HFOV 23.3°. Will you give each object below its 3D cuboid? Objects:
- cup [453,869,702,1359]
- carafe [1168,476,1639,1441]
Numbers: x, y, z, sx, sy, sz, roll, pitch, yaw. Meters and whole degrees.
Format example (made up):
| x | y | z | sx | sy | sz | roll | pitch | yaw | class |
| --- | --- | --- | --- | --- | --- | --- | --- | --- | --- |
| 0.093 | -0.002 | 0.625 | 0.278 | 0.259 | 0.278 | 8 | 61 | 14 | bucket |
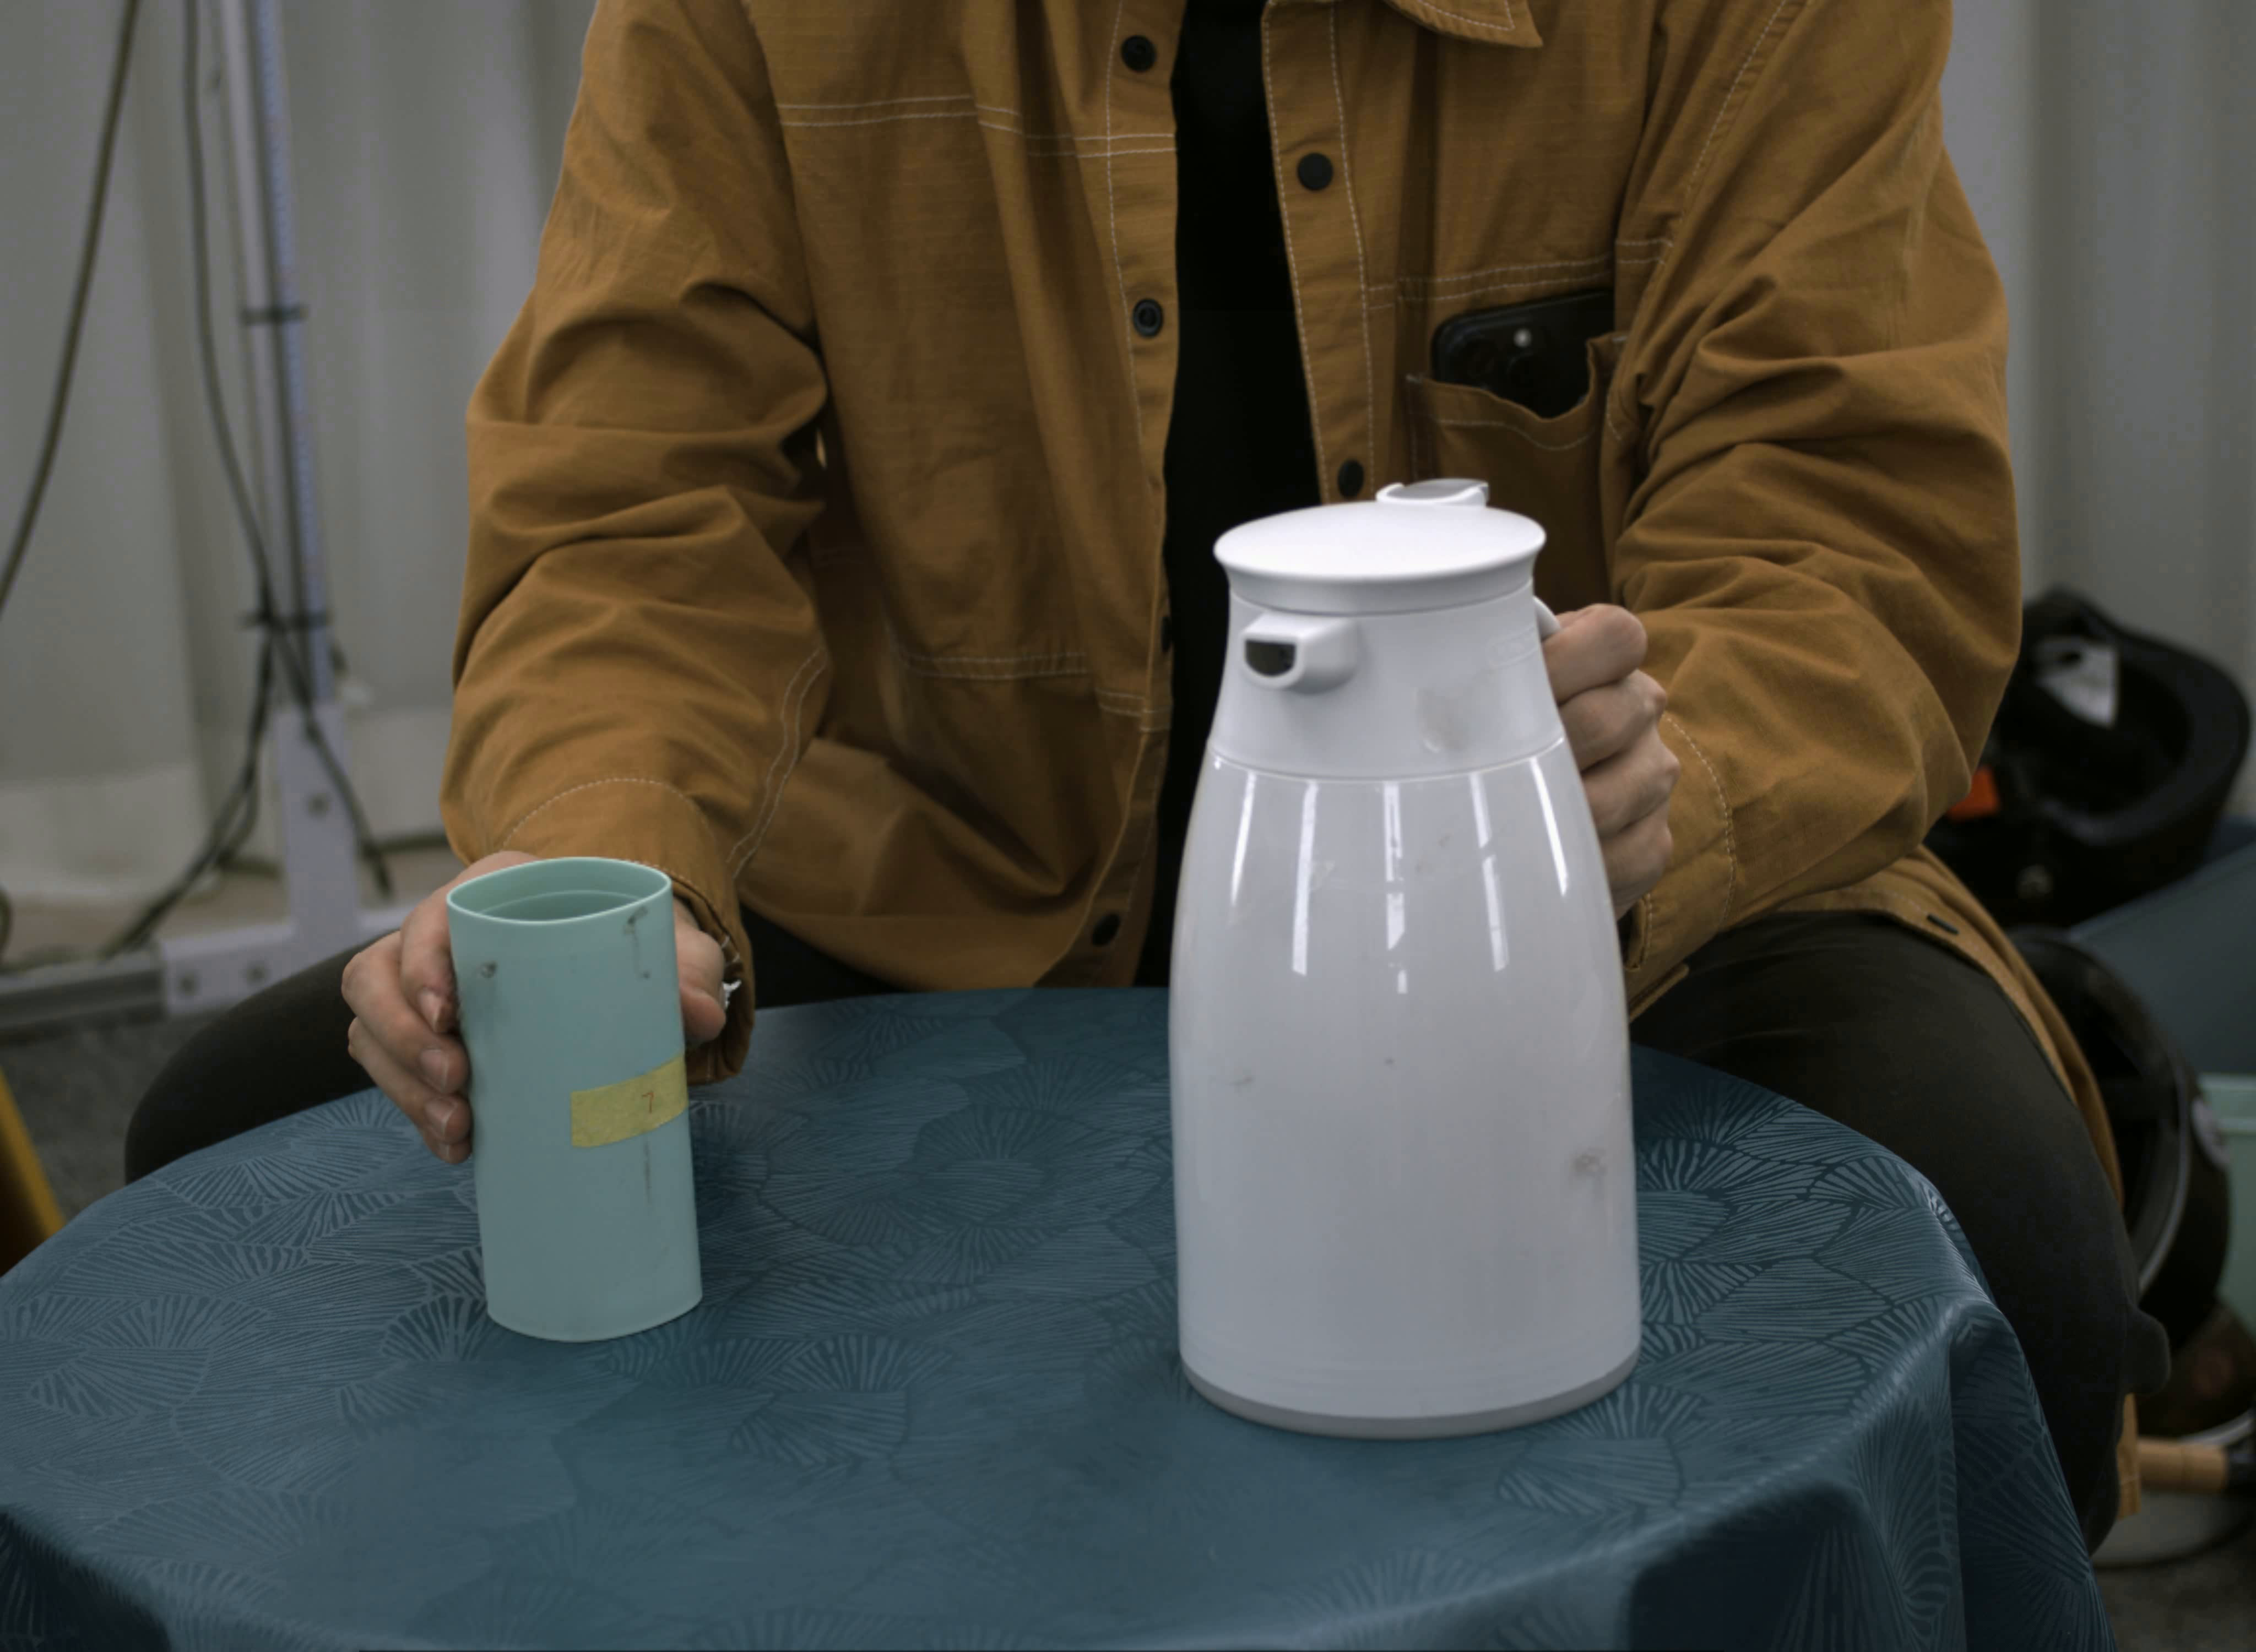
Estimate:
| x | y | z | sx | sy | sz | roll | pitch | yaw | class |
| --- | --- | --- | --- | --- | --- | --- | --- | --- | --- |
| -0.163 | 0.084 | 1.621 | 0.066 | 0.132 | 0.067 | -3 | 14 | 0 | cup |
| 0.083 | 0.028 | 1.546 | 0.133 | 0.248 | 0.168 | 5 | 15 | 30 | carafe |
